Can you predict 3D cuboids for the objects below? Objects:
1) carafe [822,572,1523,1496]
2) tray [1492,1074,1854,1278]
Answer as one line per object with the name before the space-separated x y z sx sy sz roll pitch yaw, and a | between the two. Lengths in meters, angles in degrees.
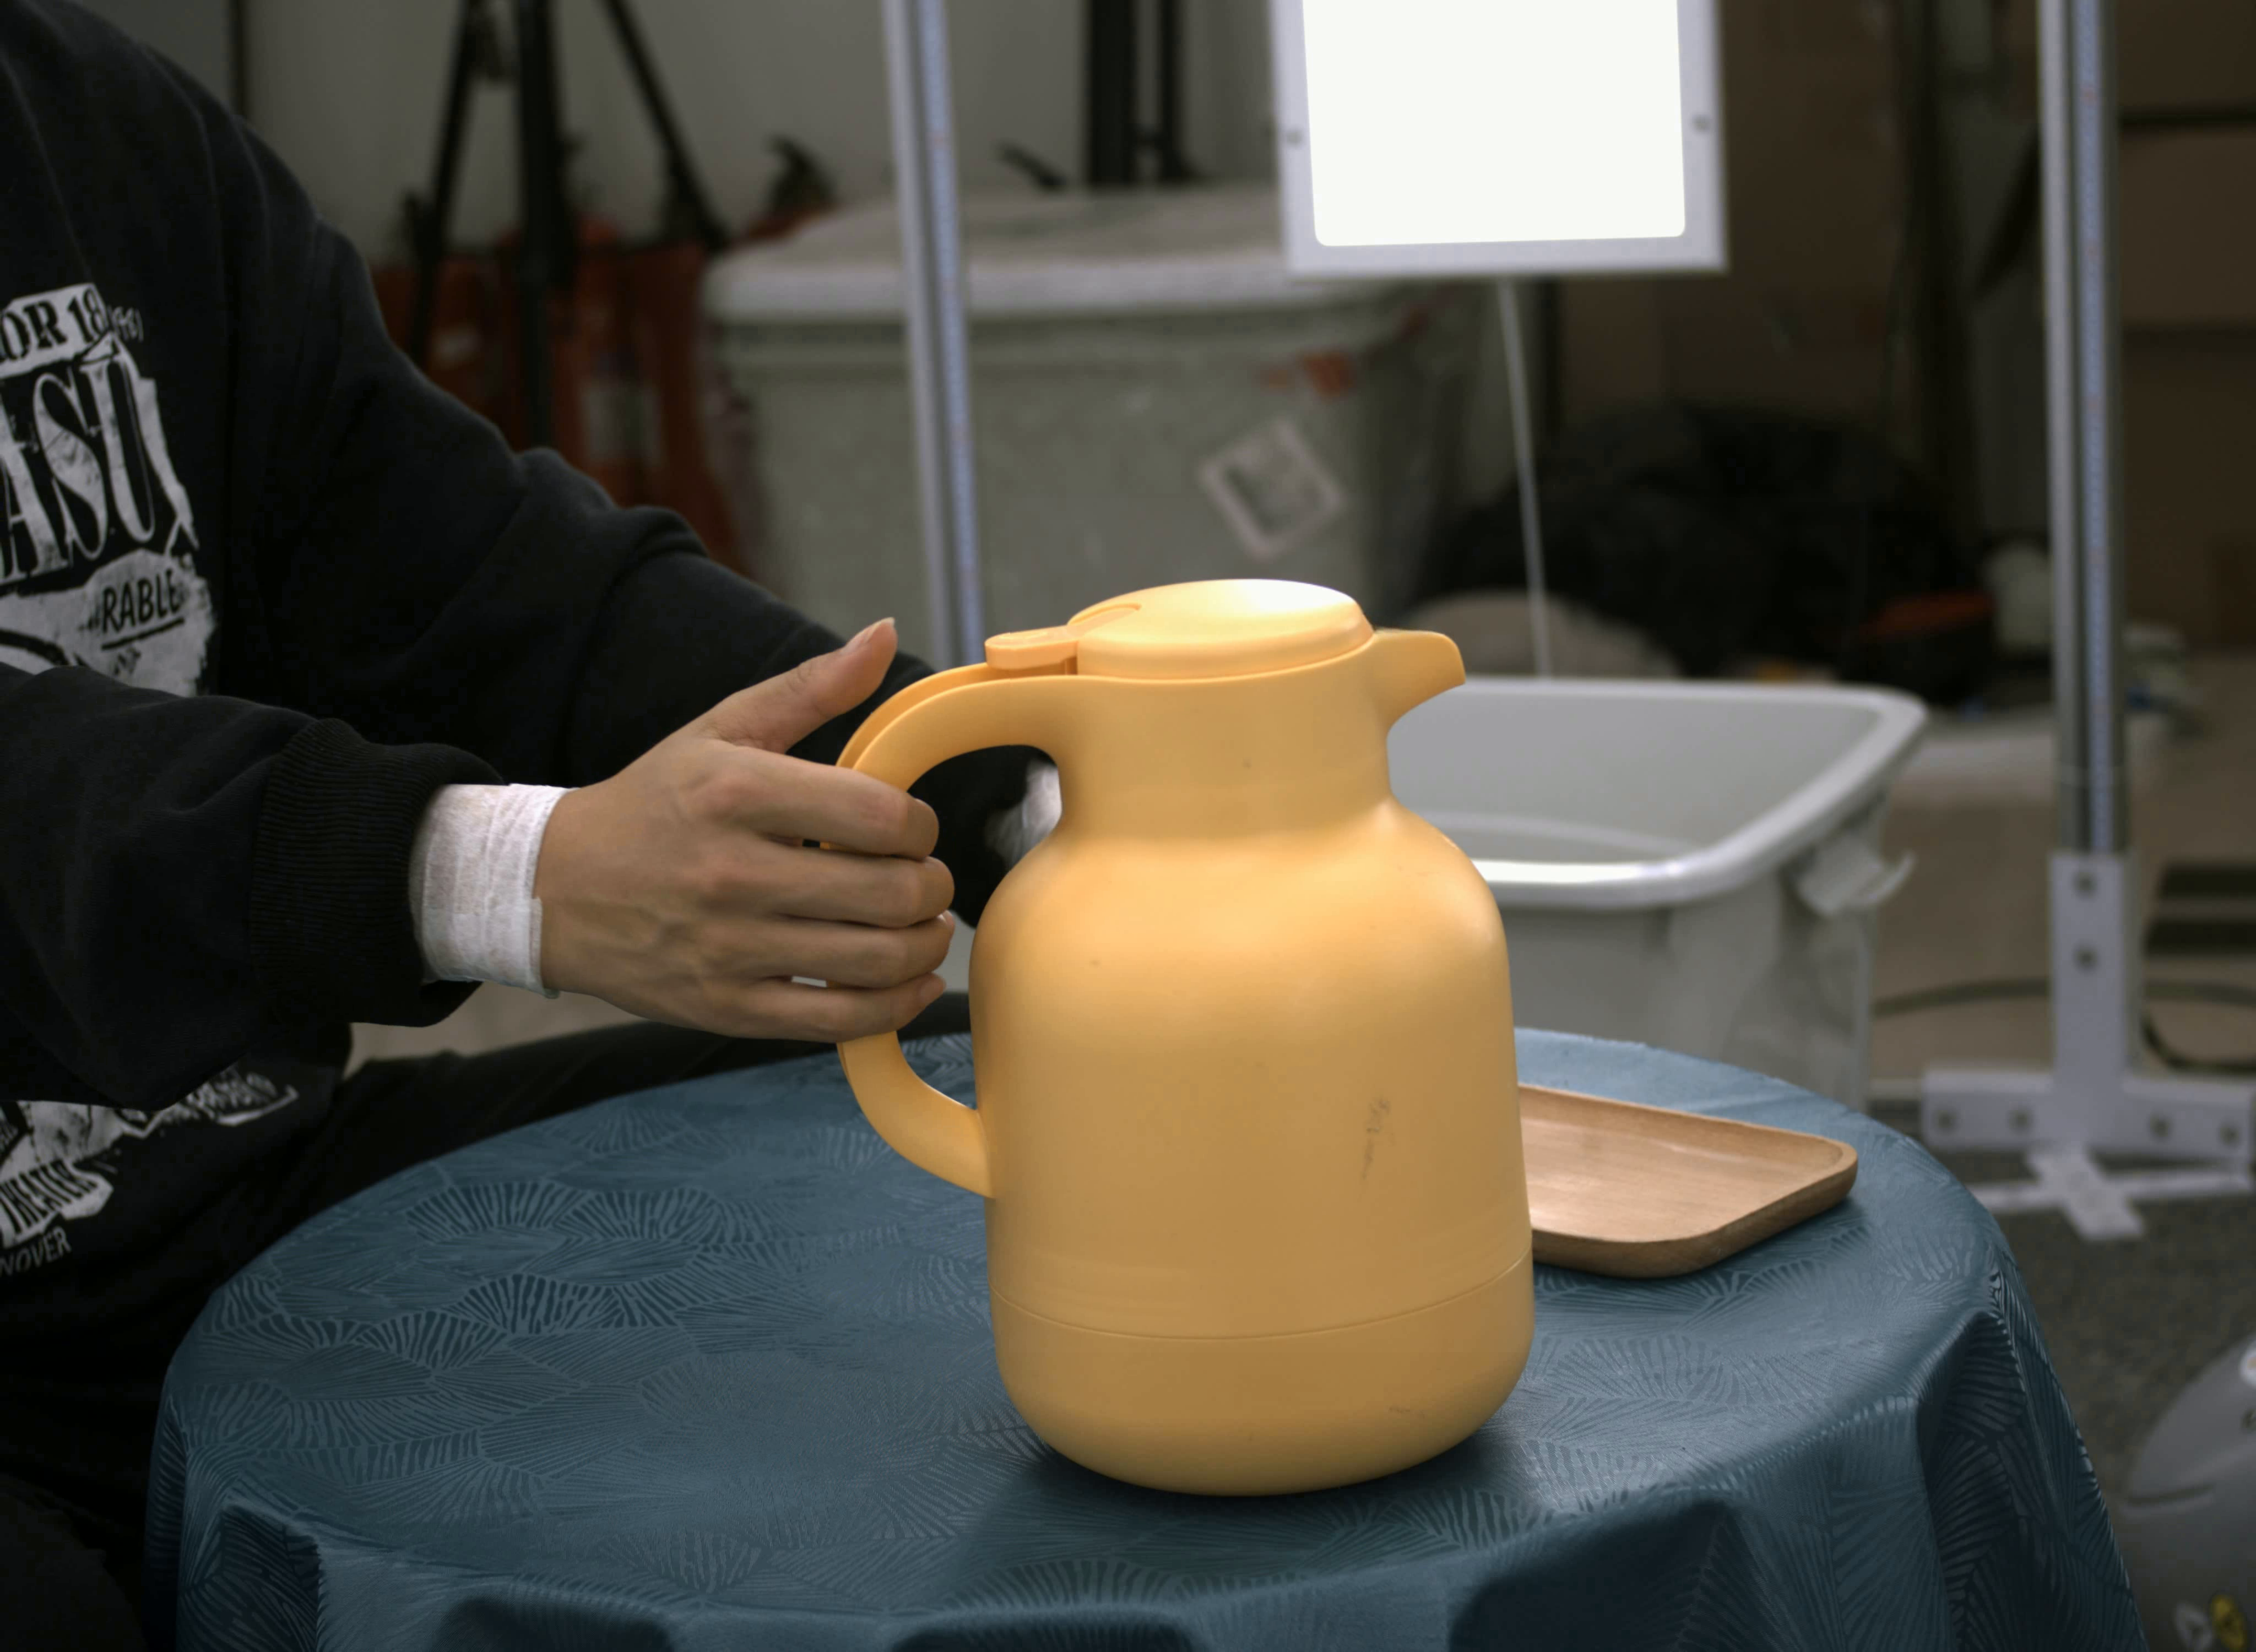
carafe | 0.013 0.058 1.623 0.201 0.261 0.164 -4 12 -5
tray | 0.120 0.114 1.872 0.256 0.023 0.127 8 16 44
